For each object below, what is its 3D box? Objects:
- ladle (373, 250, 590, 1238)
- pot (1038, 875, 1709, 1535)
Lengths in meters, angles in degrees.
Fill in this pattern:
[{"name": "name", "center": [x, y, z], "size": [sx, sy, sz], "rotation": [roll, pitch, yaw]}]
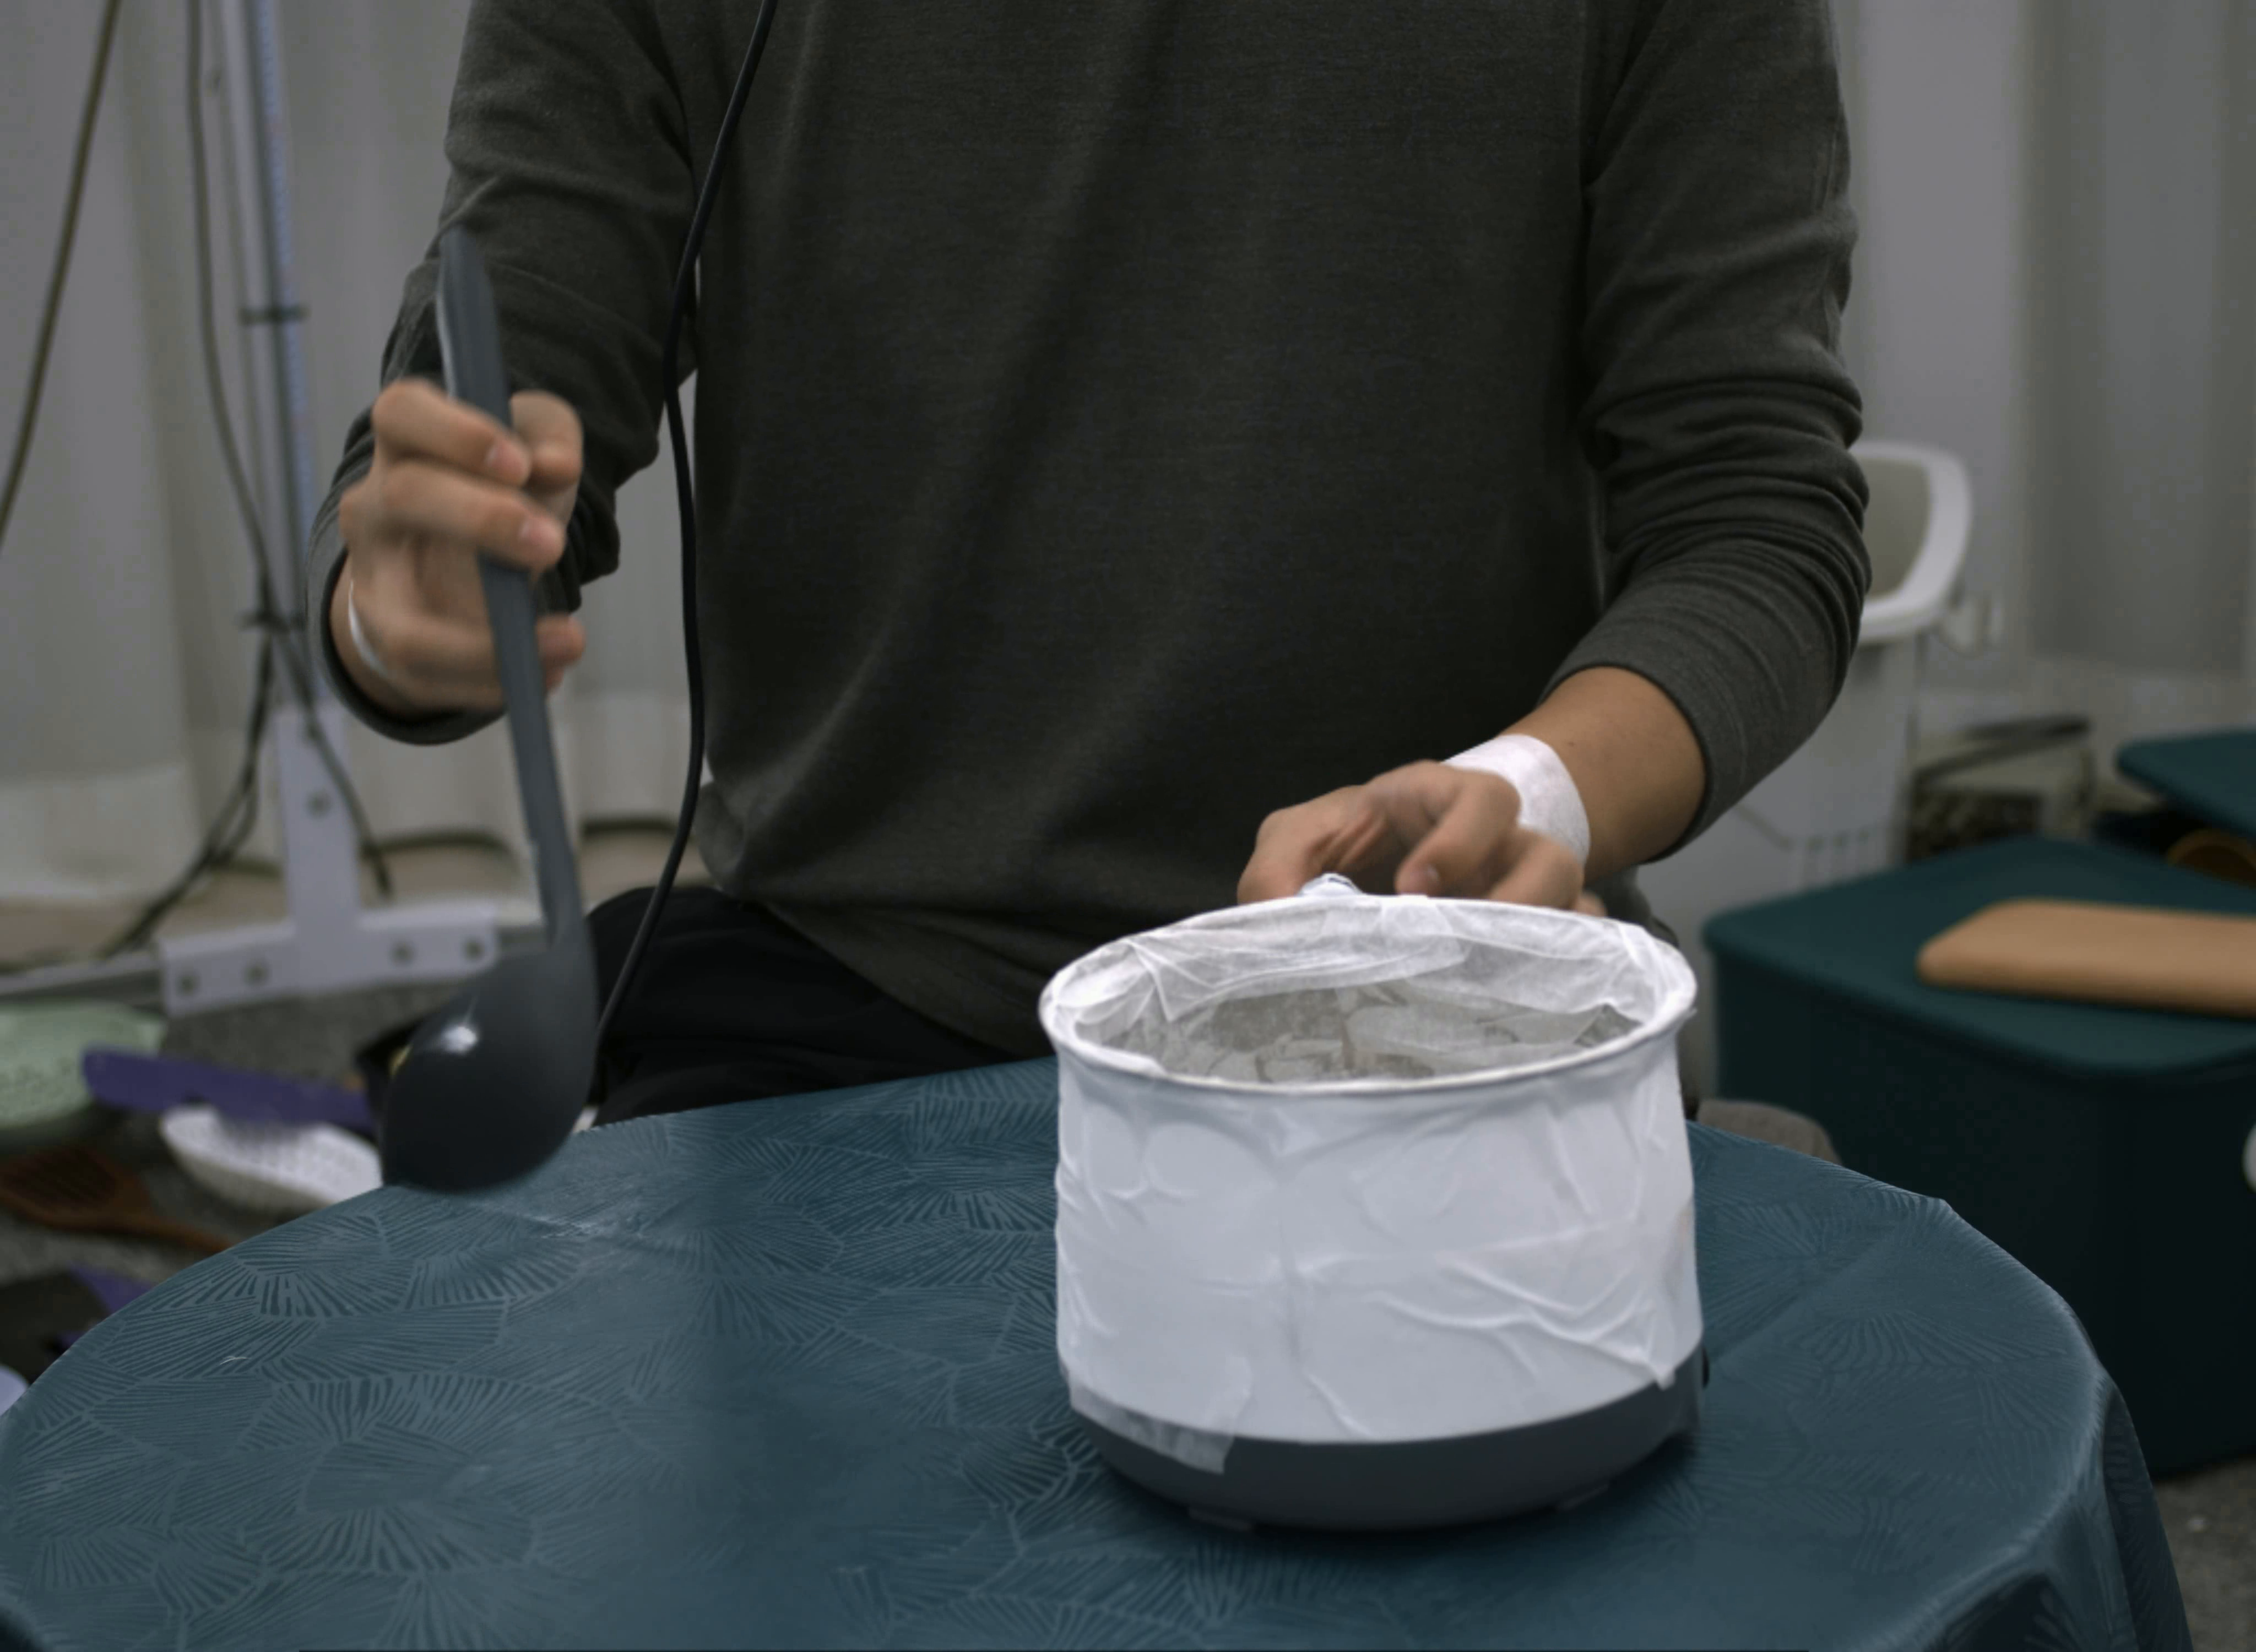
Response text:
[{"name": "ladle", "center": [-0.191, -0.033, 1.507], "size": [0.063, 0.085, 0.319], "rotation": [-4, 57, -12]}, {"name": "pot", "center": [0.065, 0.098, 1.505], "size": [0.178, 0.136, 0.235], "rotation": [-3, 14, -4]}]
